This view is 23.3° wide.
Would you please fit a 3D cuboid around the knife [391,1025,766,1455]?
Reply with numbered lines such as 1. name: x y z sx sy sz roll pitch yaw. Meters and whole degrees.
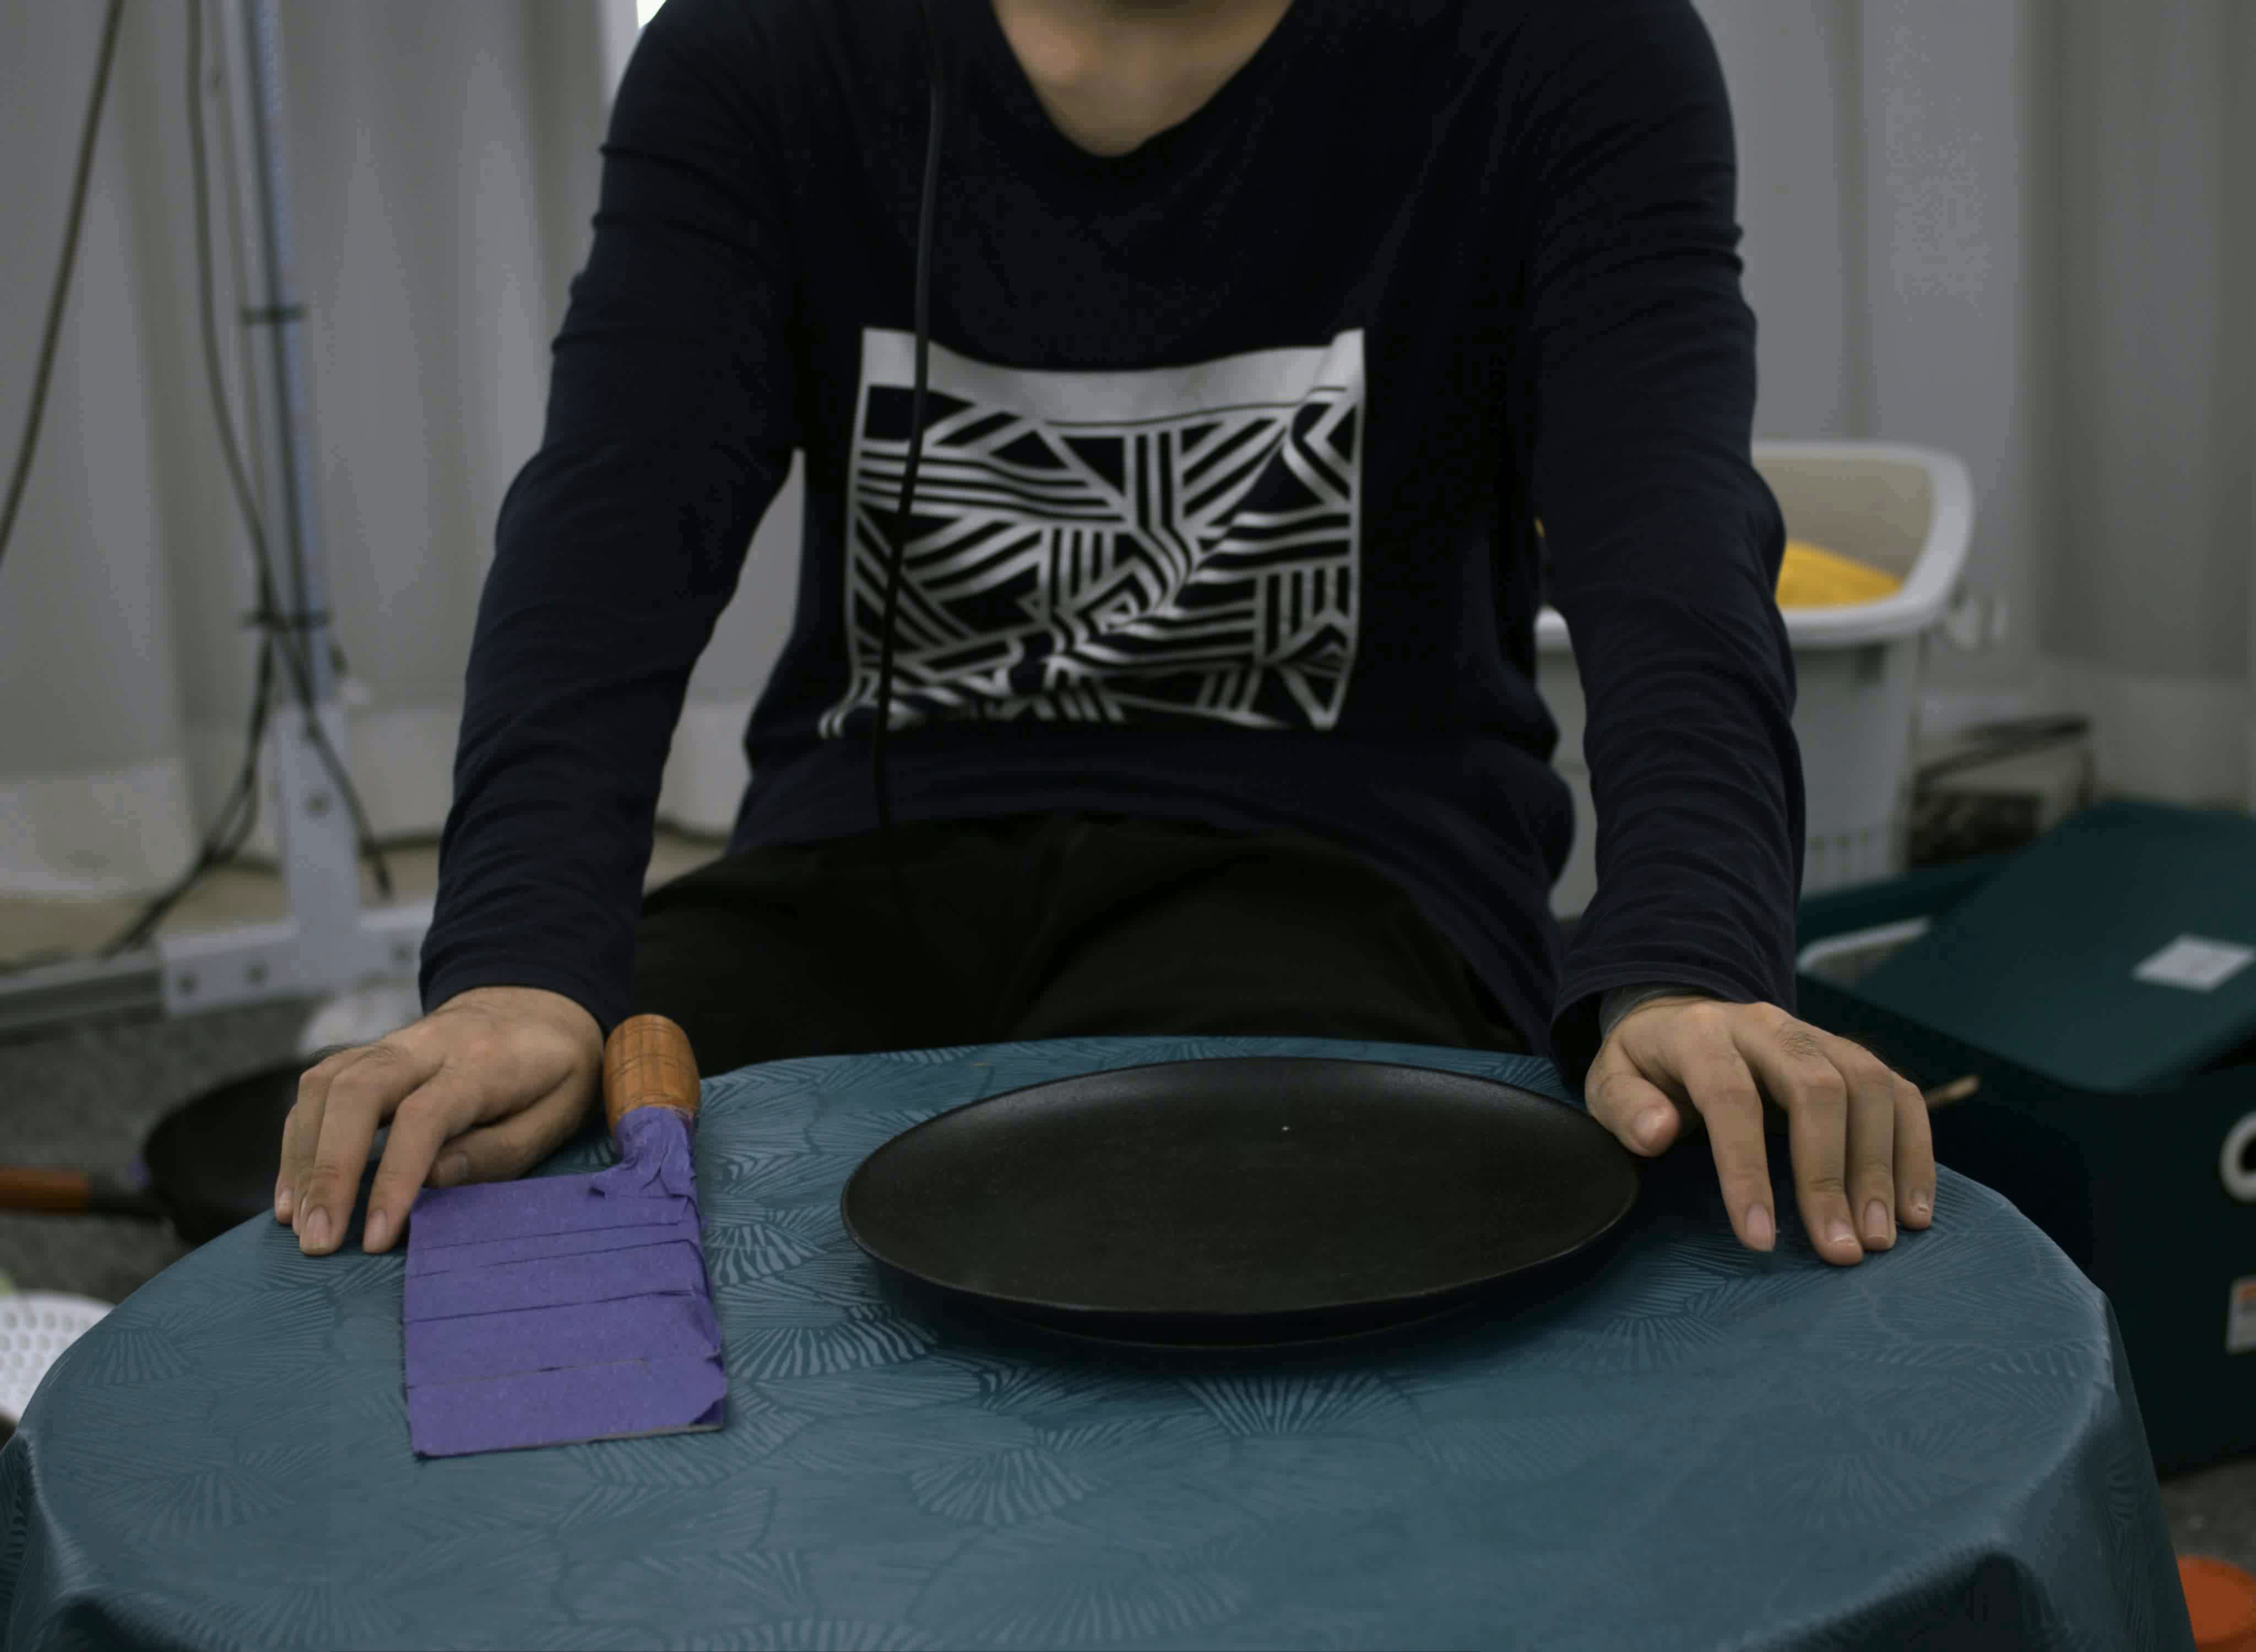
1. knife: -0.173 0.122 1.670 0.103 0.032 0.317 -4 15 -7

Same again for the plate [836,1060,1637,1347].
1. plate: 0.033 0.117 1.661 0.243 0.023 0.246 -3 15 0
